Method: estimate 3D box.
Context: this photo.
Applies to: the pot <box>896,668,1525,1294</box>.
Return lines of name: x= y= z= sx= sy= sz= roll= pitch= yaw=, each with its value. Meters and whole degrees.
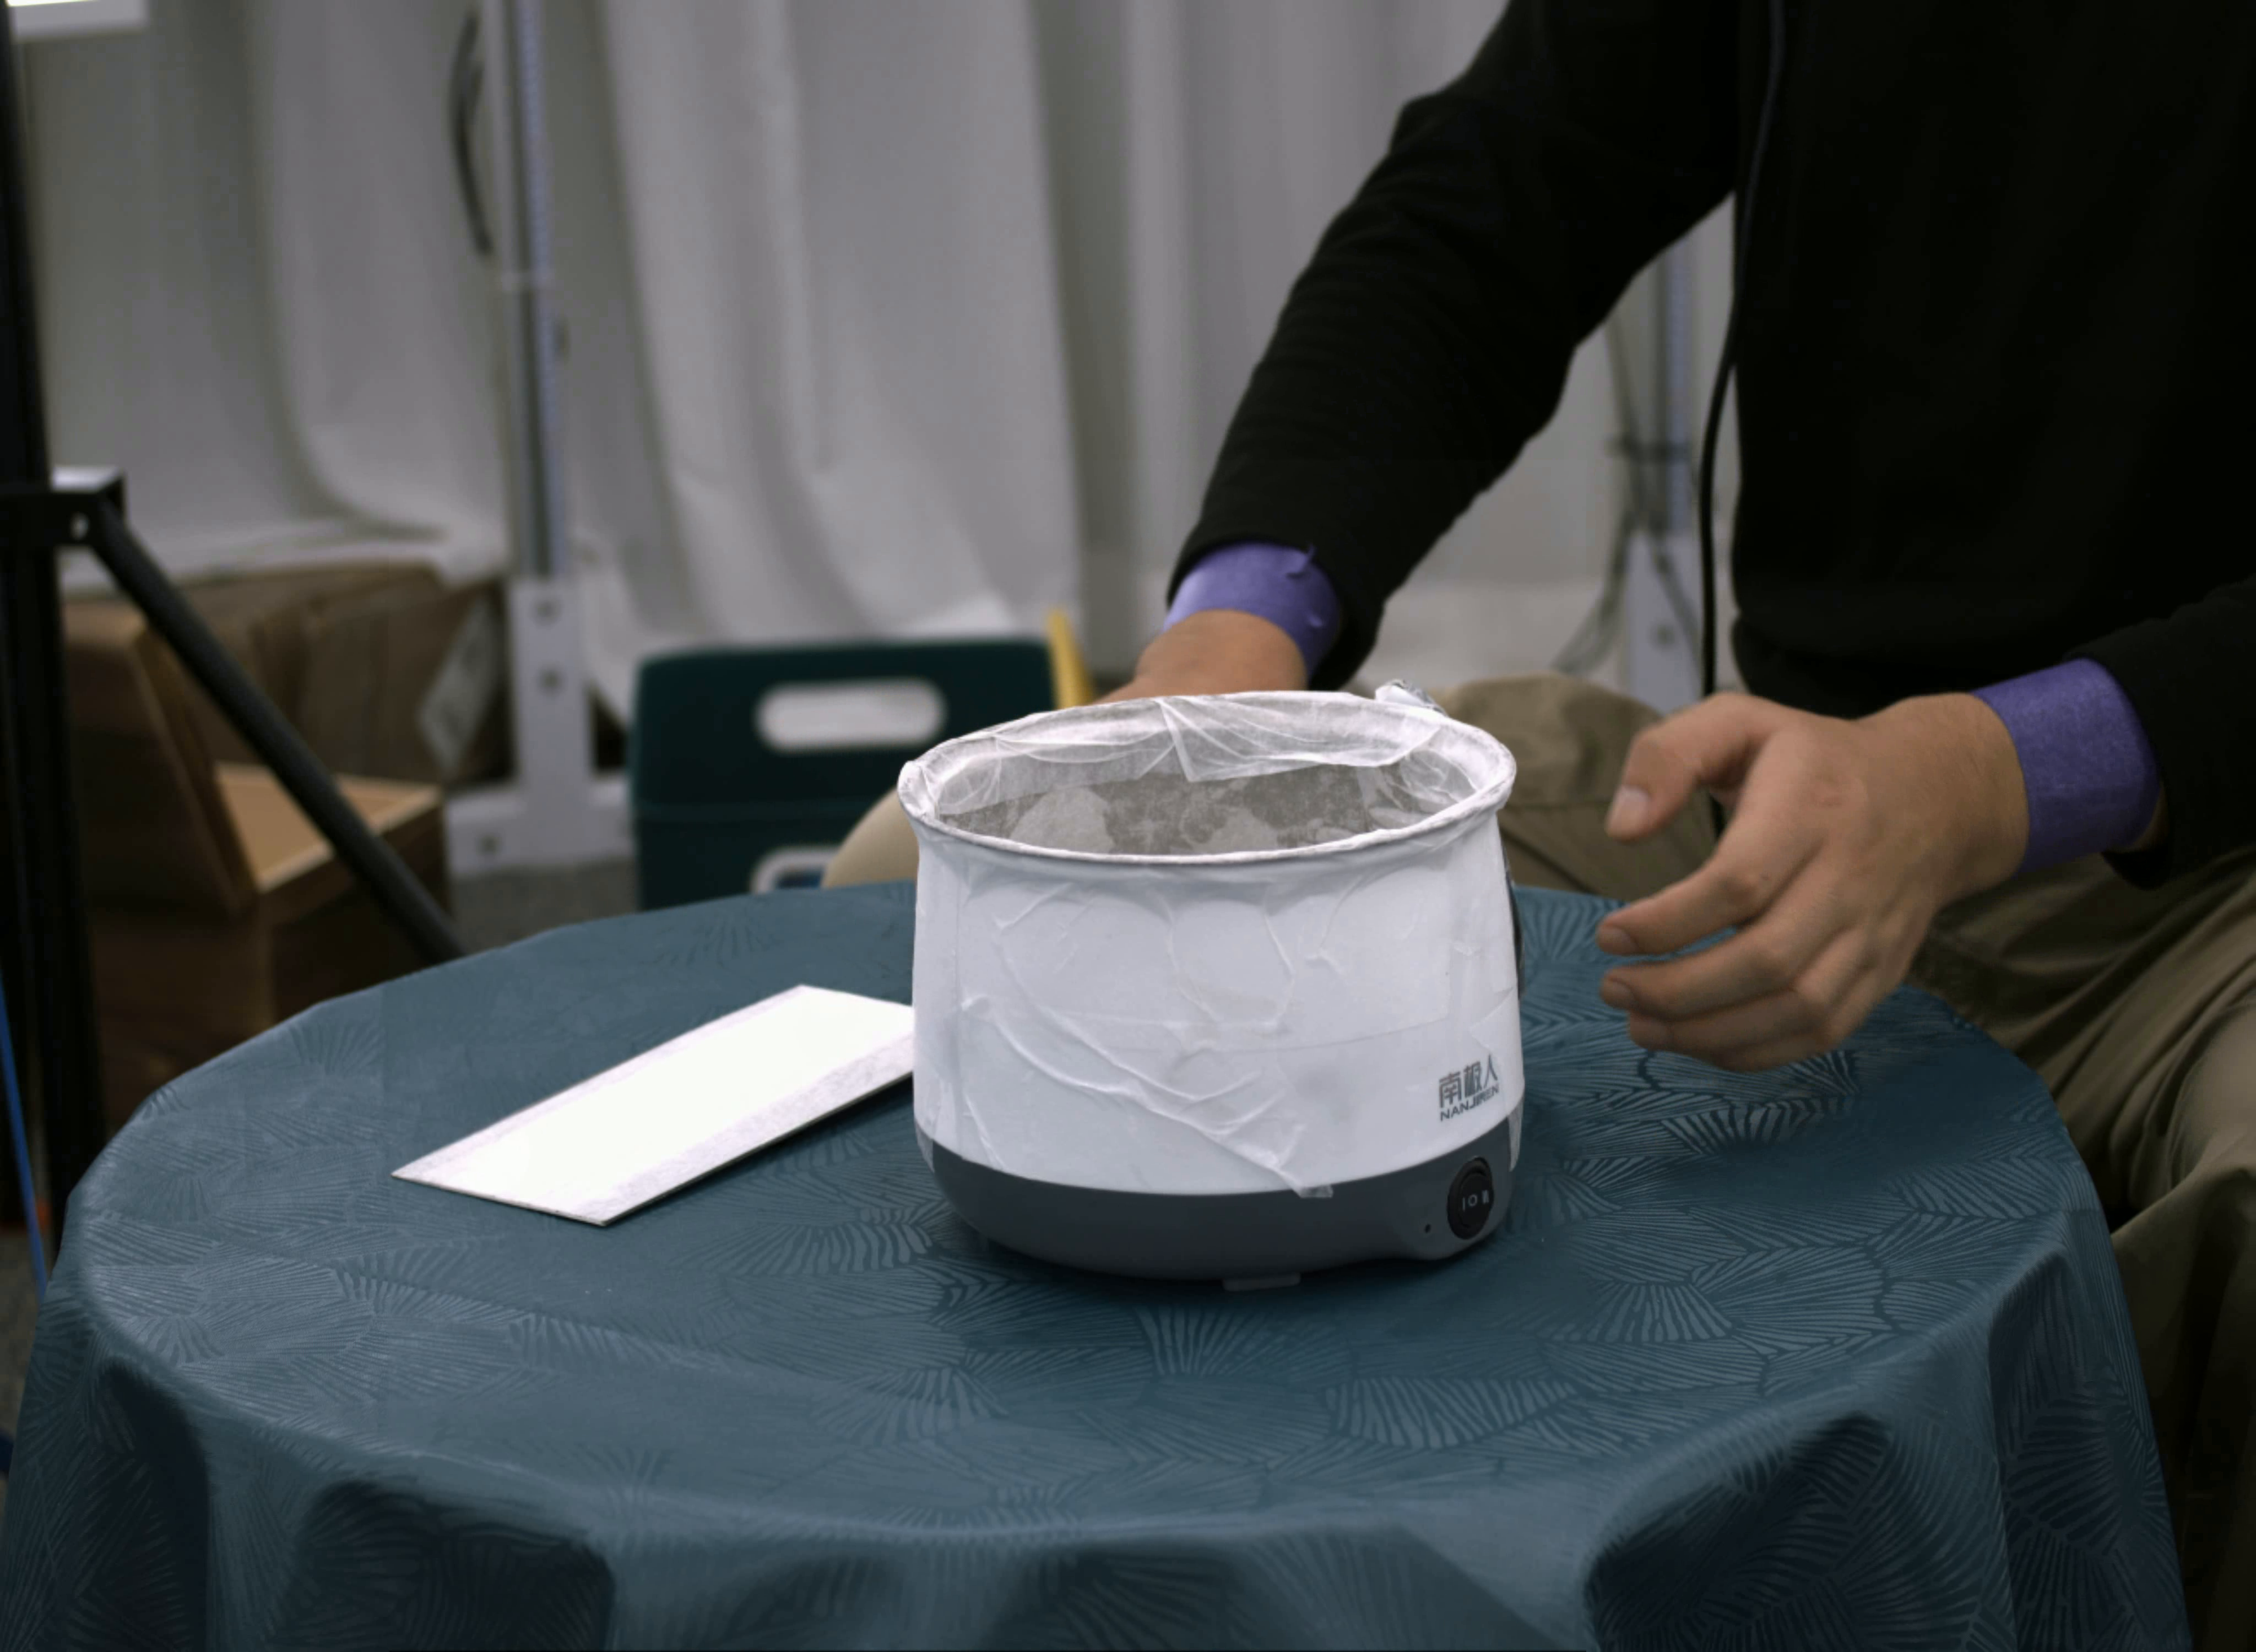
pot: x=0.041 y=0.037 z=1.541 sx=0.182 sy=0.136 sz=0.229 roll=9 pitch=20 yaw=35

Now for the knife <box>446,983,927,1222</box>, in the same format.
knife: x=-0.093 y=0.069 z=1.682 sx=0.095 sy=0.021 sz=0.299 roll=10 pitch=22 yaw=38
